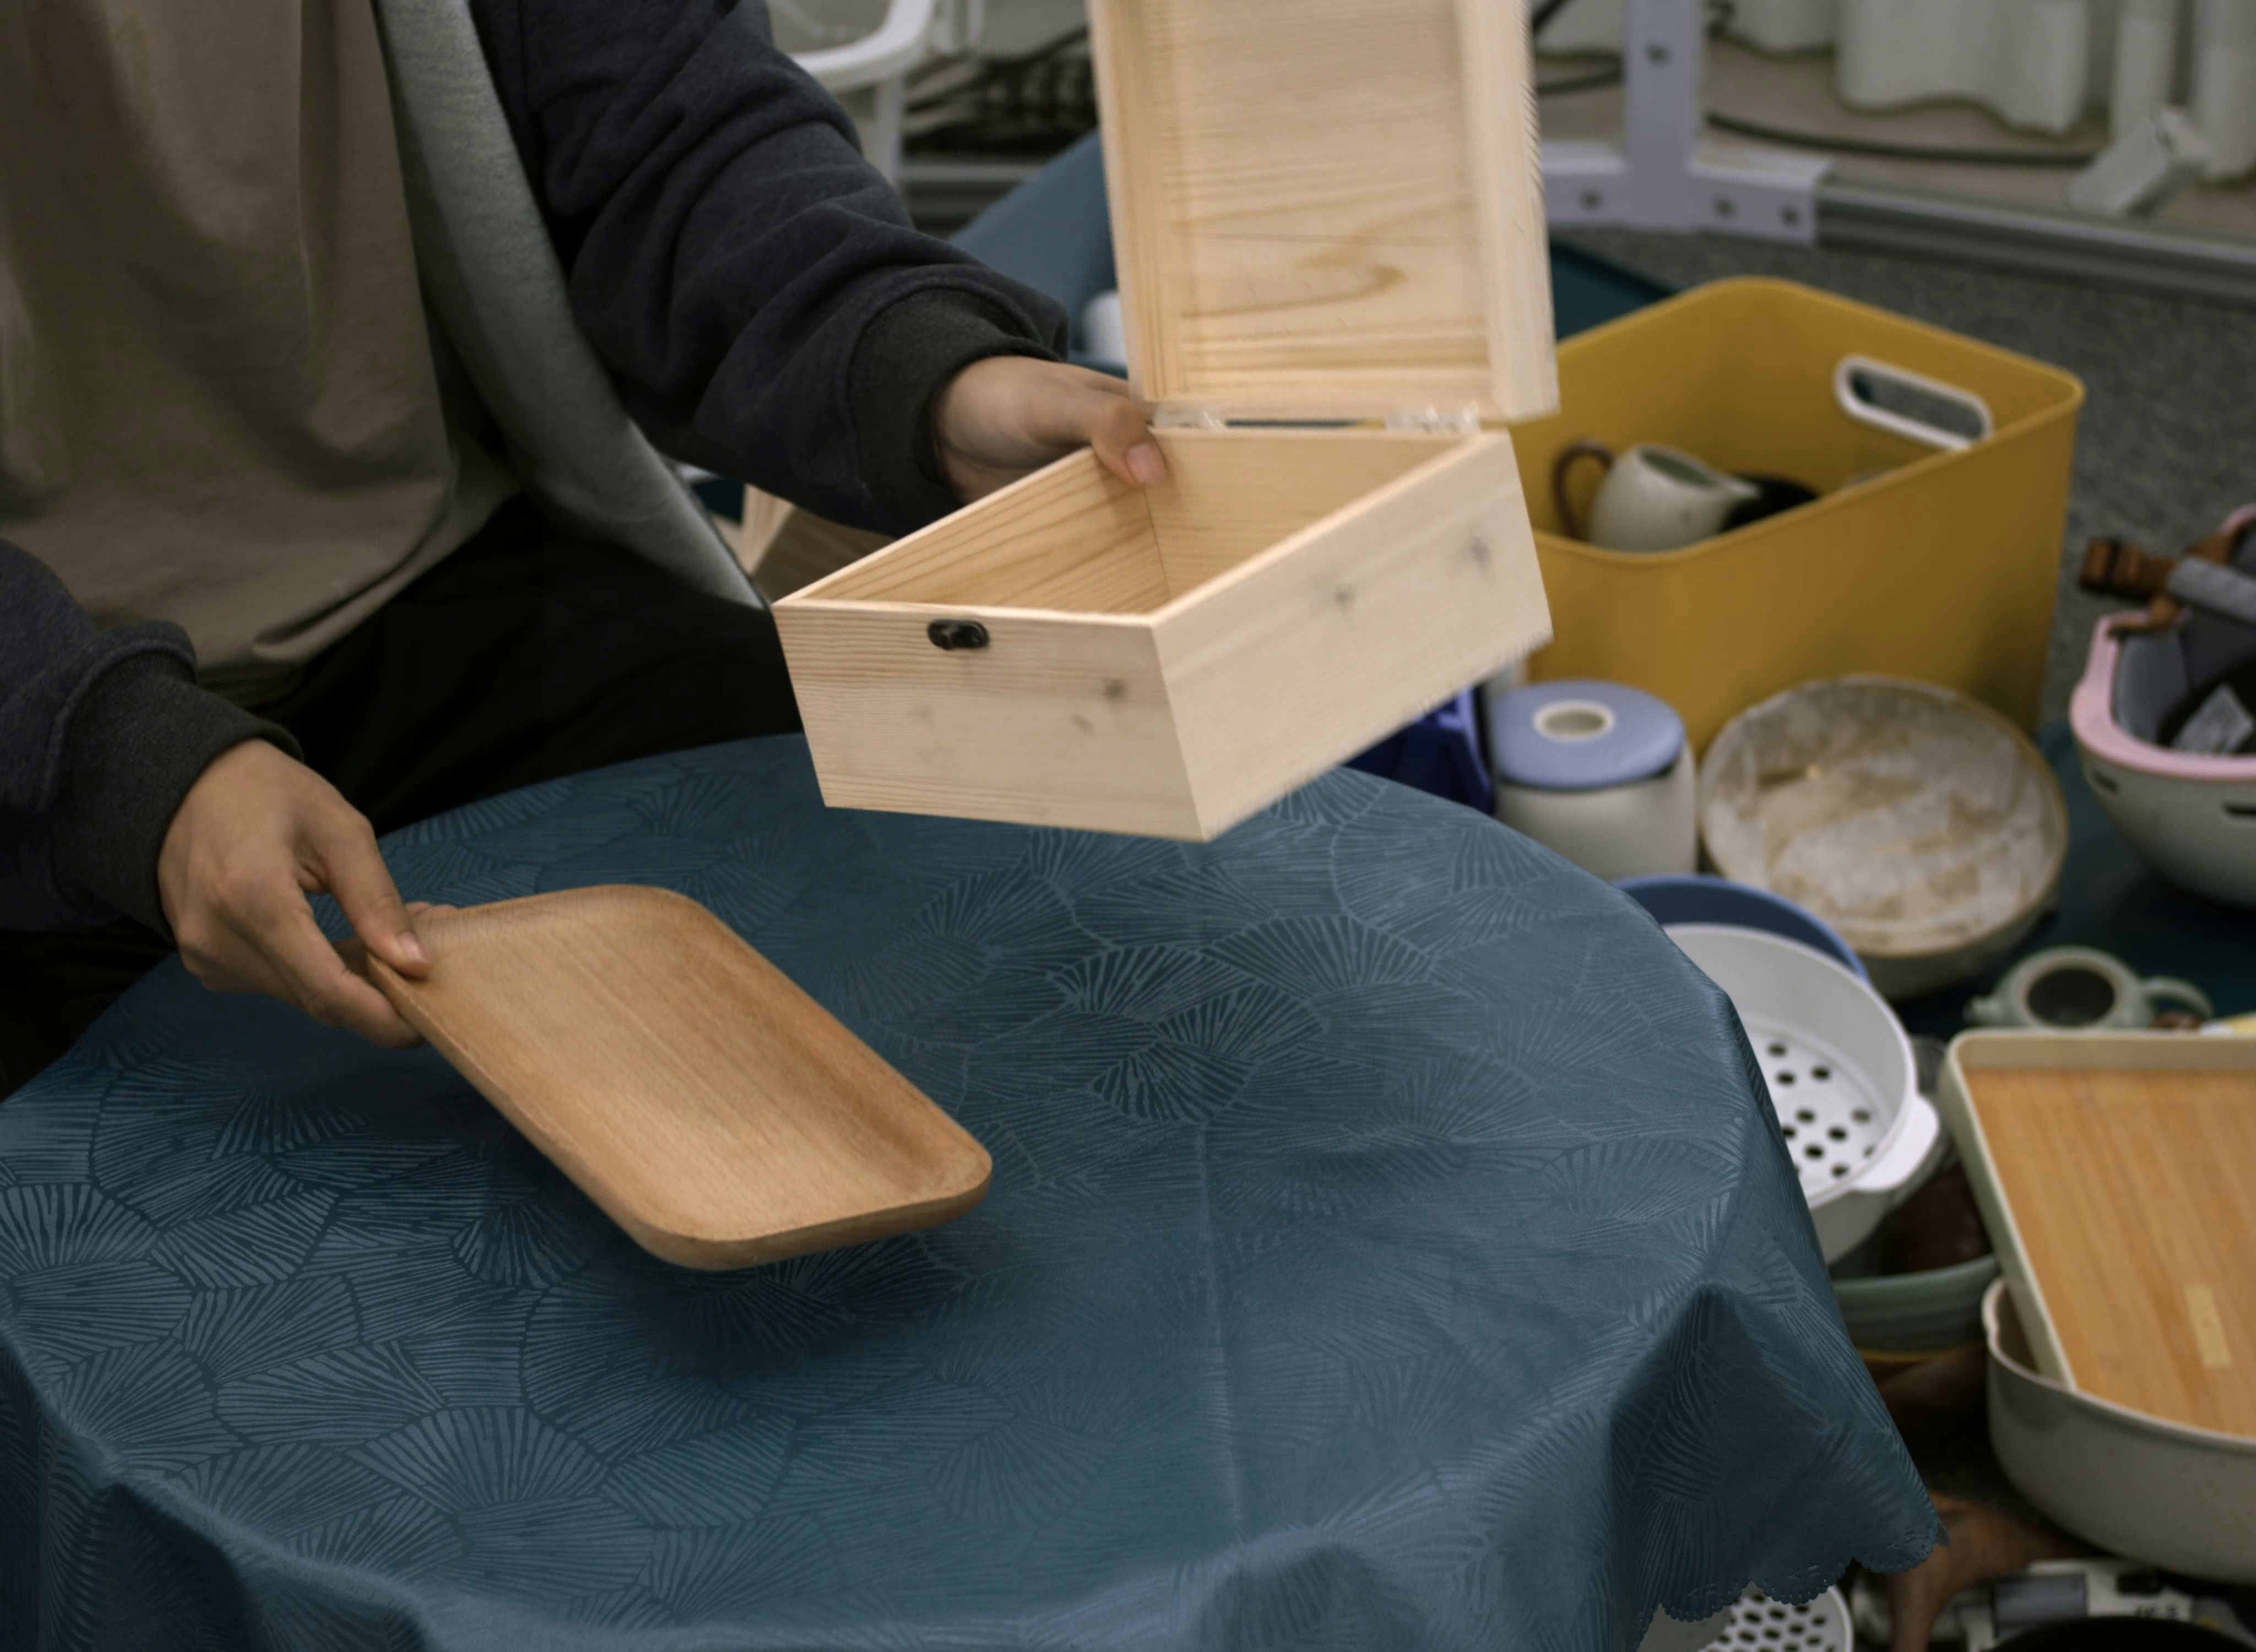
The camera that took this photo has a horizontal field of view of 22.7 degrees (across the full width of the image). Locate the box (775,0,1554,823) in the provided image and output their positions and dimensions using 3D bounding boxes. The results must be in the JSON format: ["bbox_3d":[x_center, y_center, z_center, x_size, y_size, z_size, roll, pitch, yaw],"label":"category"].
[{"bbox_3d":[0.012,-0.164,1.890,0.180,0.252,0.268,-2,20,45],"label":"box"}]

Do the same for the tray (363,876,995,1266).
[{"bbox_3d":[-0.152,0.078,1.855,0.131,0.022,0.251,-7,26,-32],"label":"tray"}]
